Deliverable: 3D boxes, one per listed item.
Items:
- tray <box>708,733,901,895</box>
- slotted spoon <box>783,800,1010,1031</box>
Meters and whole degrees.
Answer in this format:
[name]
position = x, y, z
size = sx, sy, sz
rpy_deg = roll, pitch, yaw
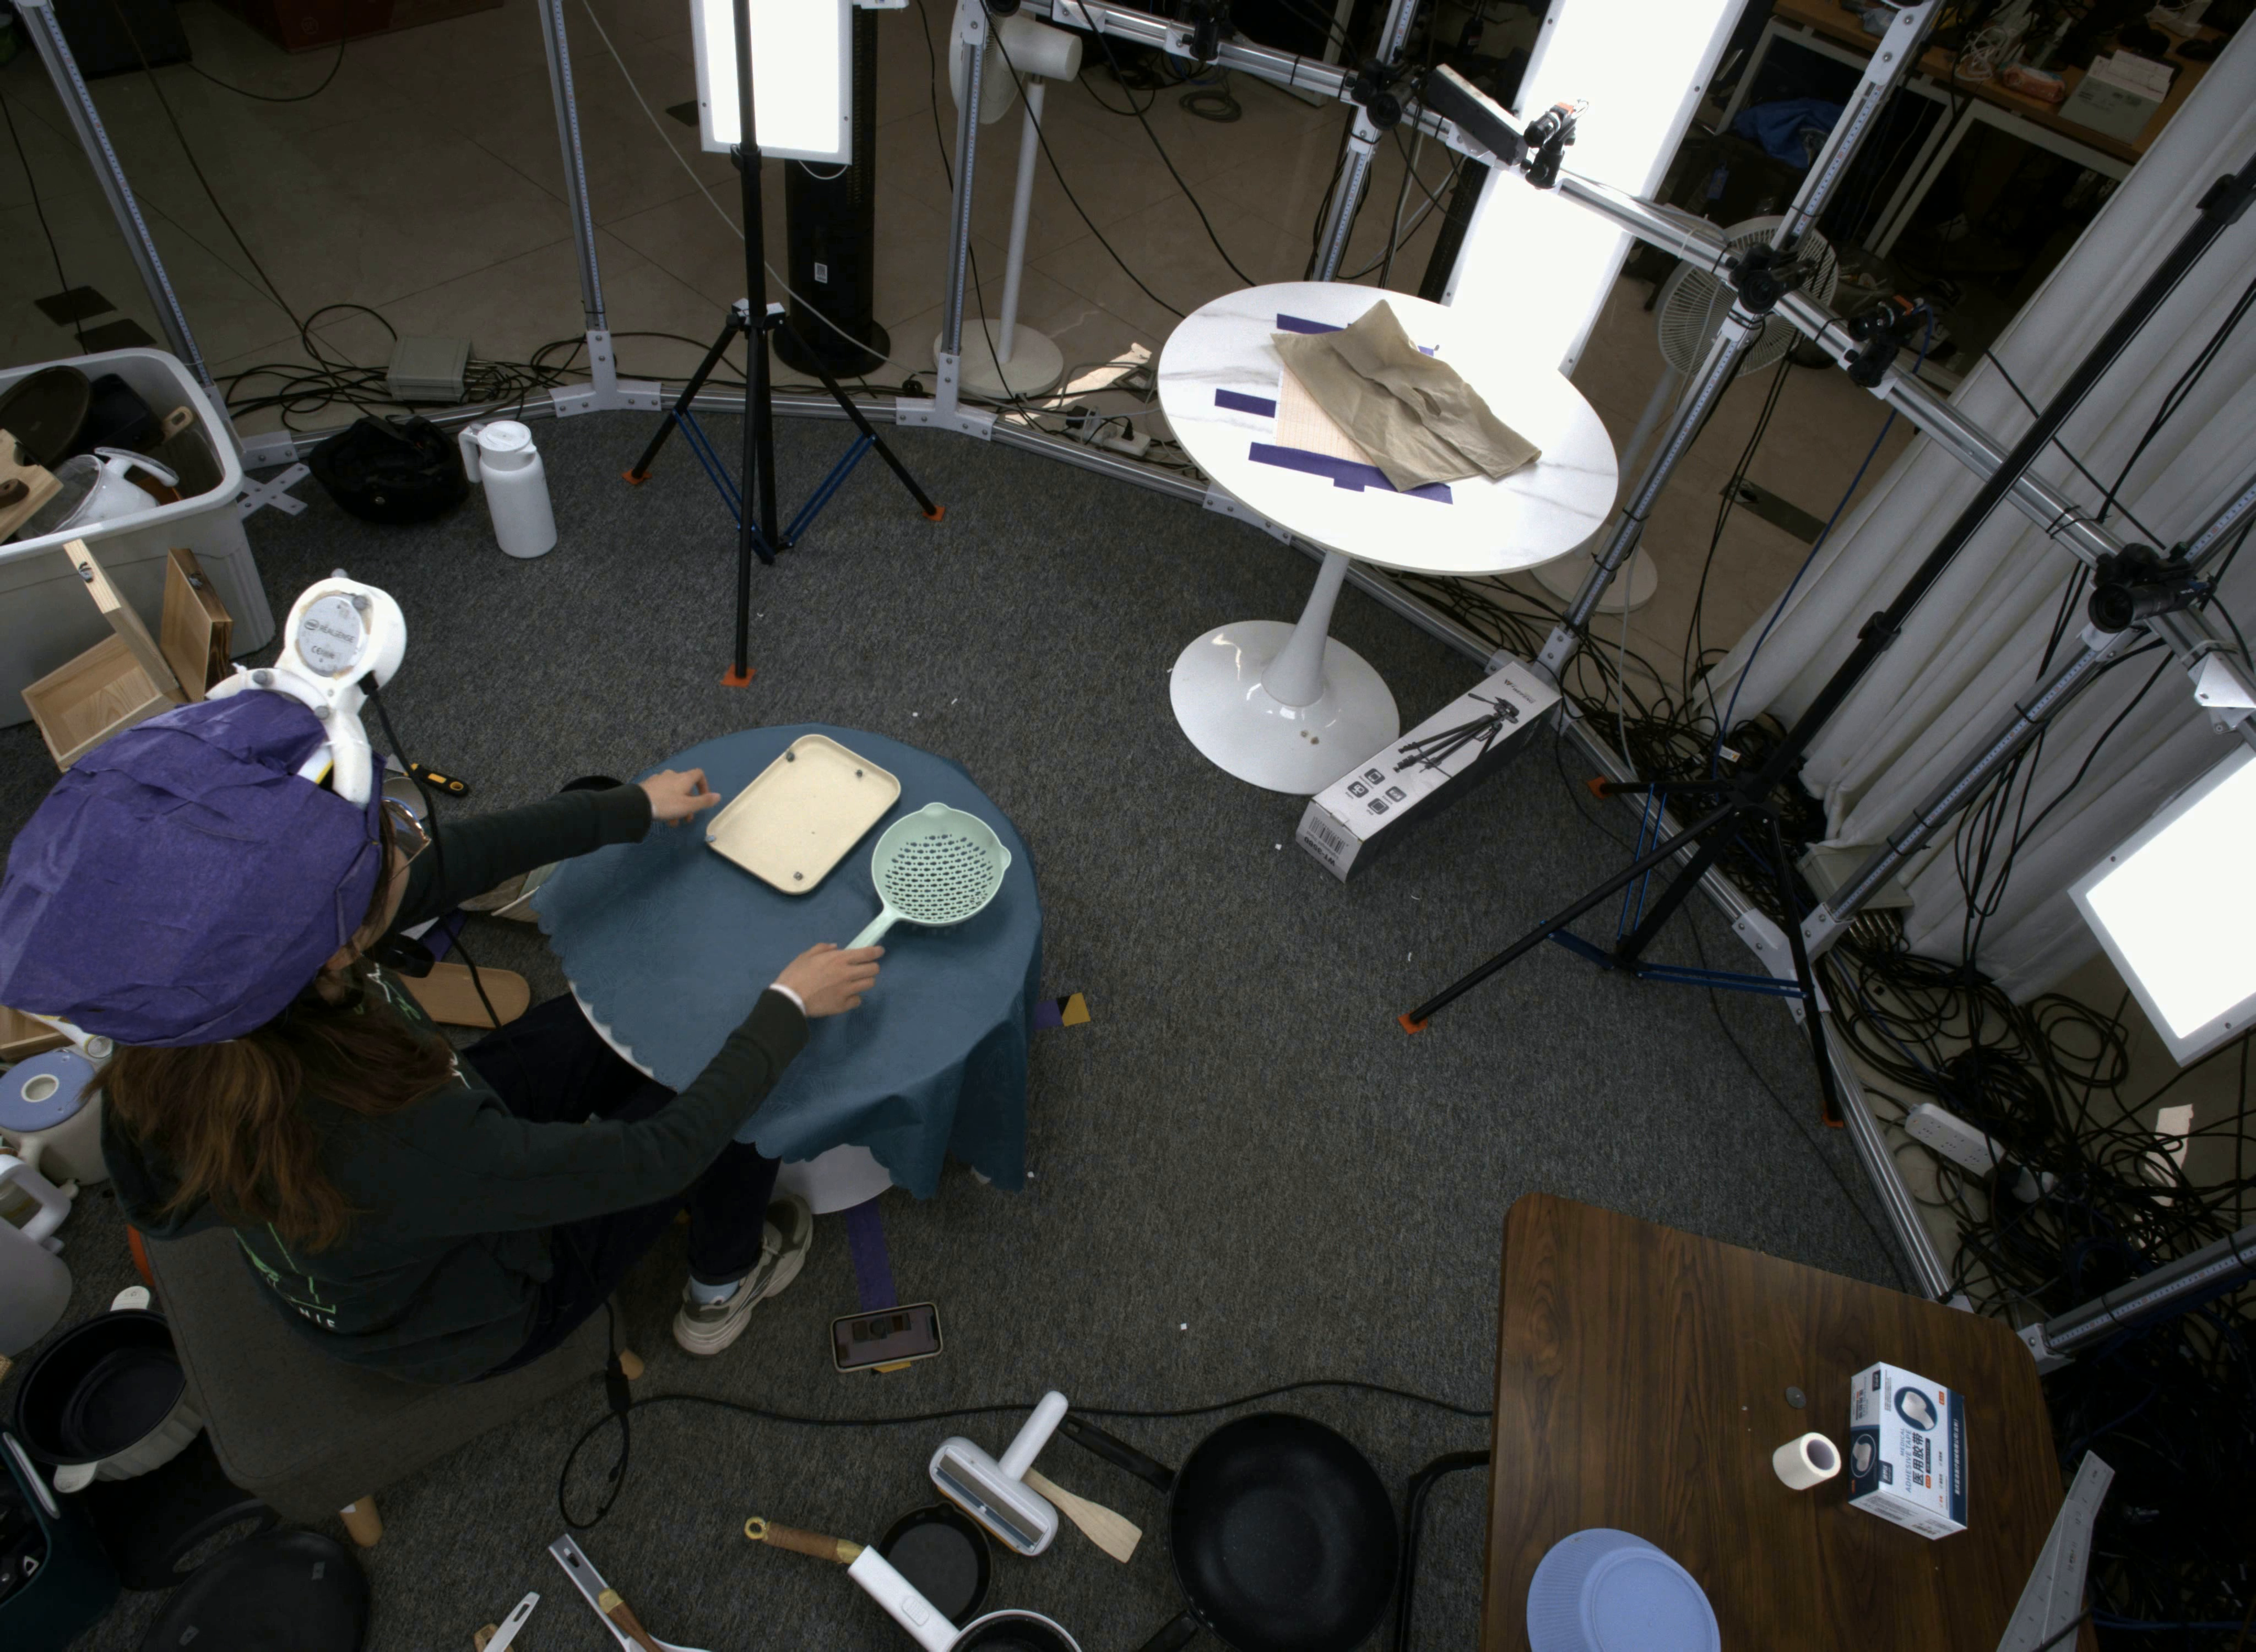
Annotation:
[tray]
position = -0.429, -0.019, 1.732
size = 0.168, 0.018, 0.239
rpy_deg = 30, 53, 9
[slotted spoon]
position = -0.303, 0.116, 1.634
size = 0.166, 0.077, 0.358
rpy_deg = 35, 54, 14
